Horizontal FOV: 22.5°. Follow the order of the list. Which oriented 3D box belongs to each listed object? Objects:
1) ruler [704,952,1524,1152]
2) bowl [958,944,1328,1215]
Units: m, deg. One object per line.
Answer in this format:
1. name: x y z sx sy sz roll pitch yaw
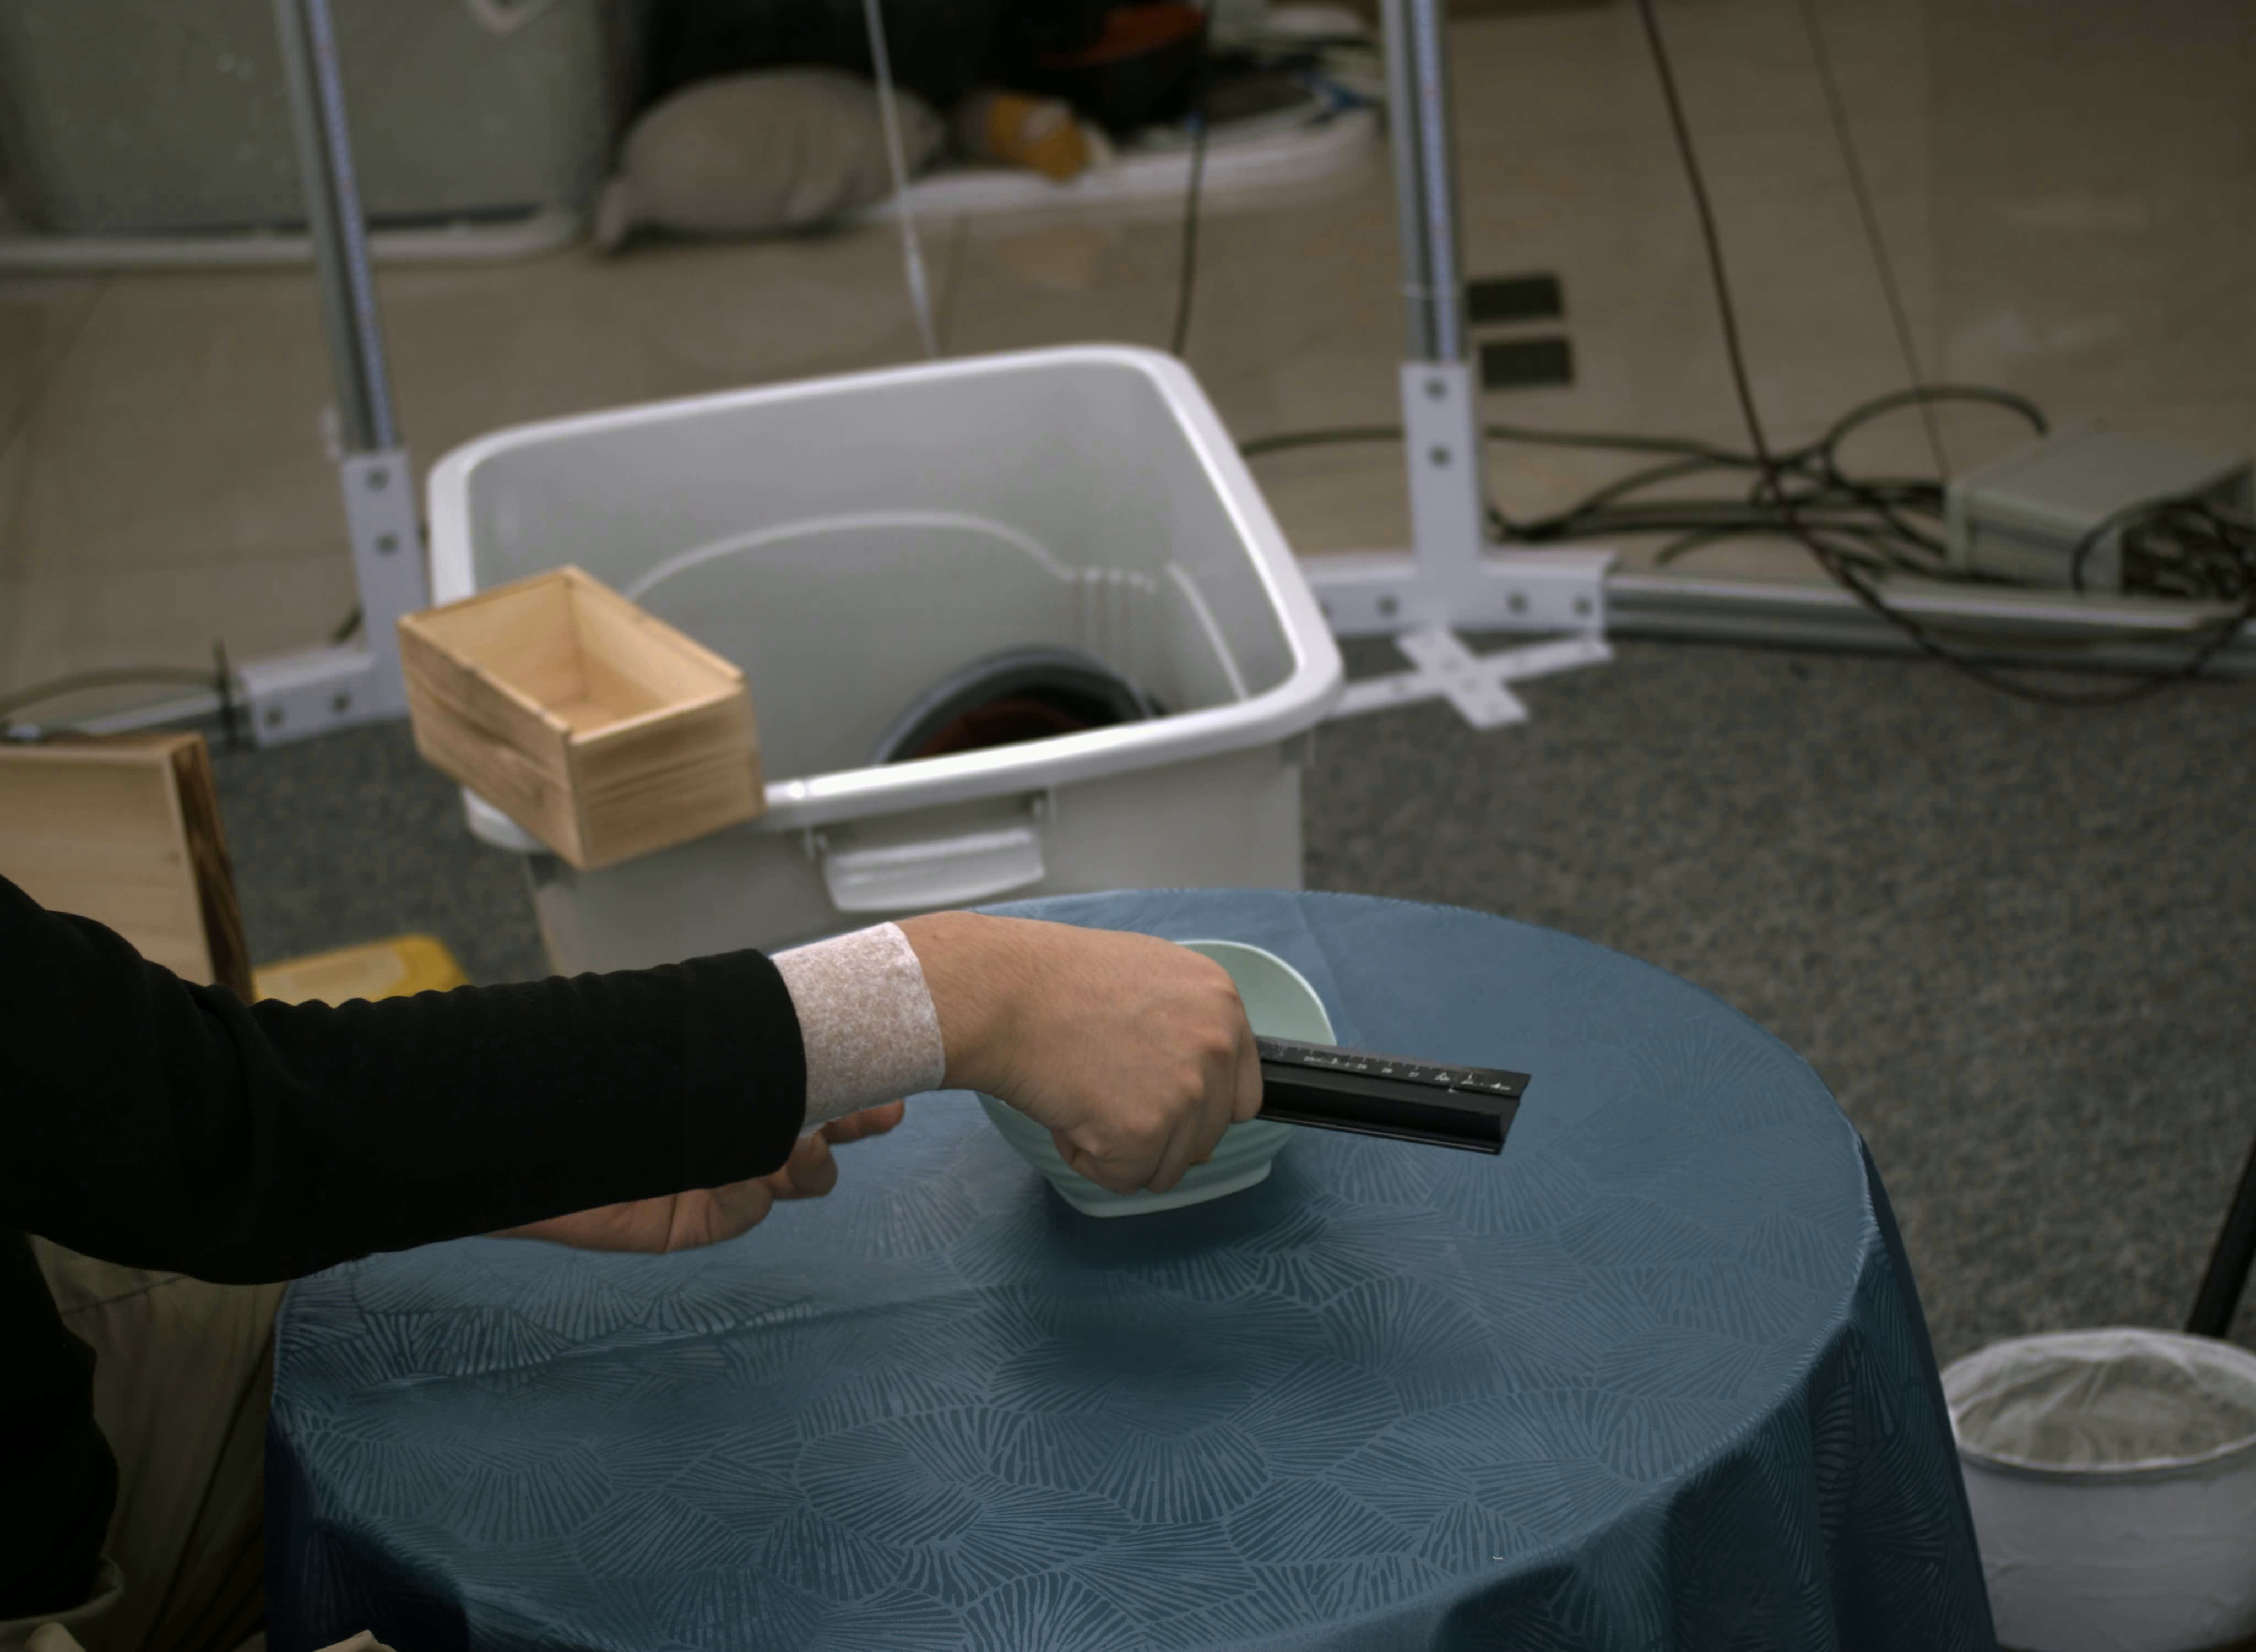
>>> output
1. ruler: -0.009 0.076 2.045 0.311 0.017 0.038 8 46 22
2. bowl: 0.006 0.102 2.158 0.151 0.059 0.149 -3 25 1
